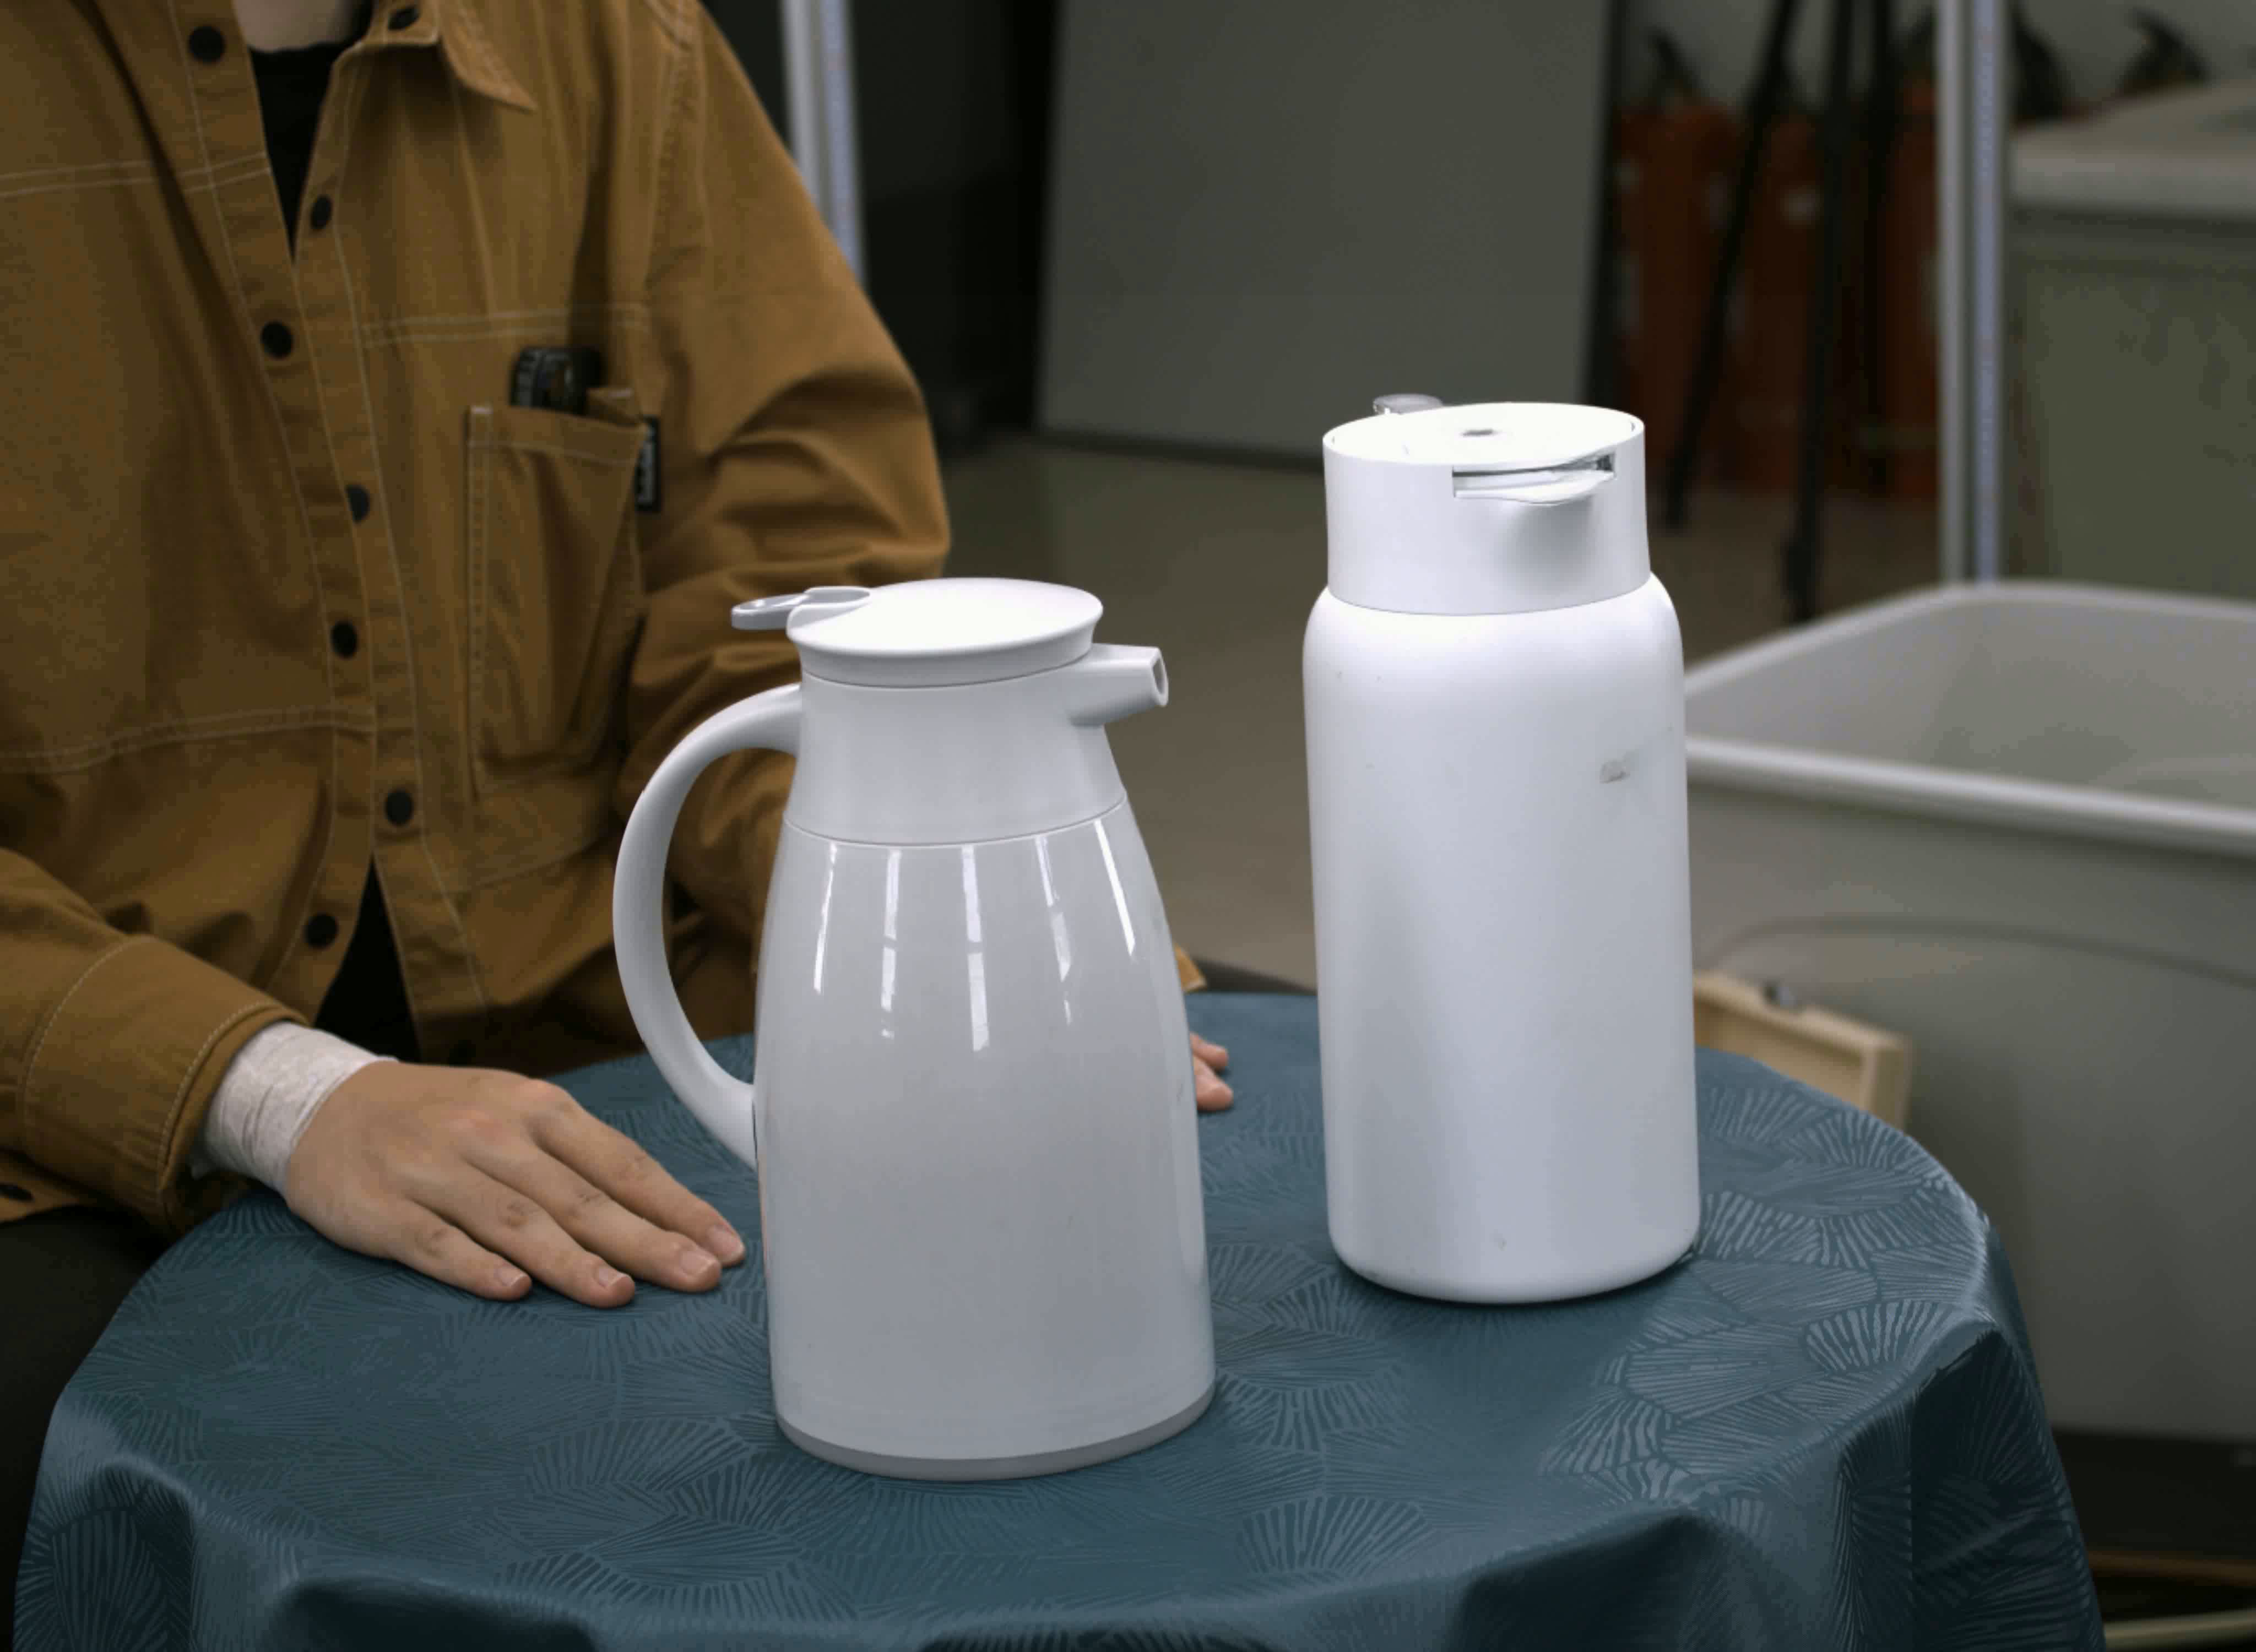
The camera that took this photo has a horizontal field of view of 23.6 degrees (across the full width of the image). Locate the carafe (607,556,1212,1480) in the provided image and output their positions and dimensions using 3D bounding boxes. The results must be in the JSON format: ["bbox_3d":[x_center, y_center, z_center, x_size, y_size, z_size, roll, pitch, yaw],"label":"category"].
[{"bbox_3d":[-0.066,0.049,1.562,0.166,0.251,0.132,-2,13,10],"label":"carafe"}]

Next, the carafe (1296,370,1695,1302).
[{"bbox_3d":[0.106,0.000,1.671,0.121,0.272,0.174,-10,14,-17],"label":"carafe"}]
